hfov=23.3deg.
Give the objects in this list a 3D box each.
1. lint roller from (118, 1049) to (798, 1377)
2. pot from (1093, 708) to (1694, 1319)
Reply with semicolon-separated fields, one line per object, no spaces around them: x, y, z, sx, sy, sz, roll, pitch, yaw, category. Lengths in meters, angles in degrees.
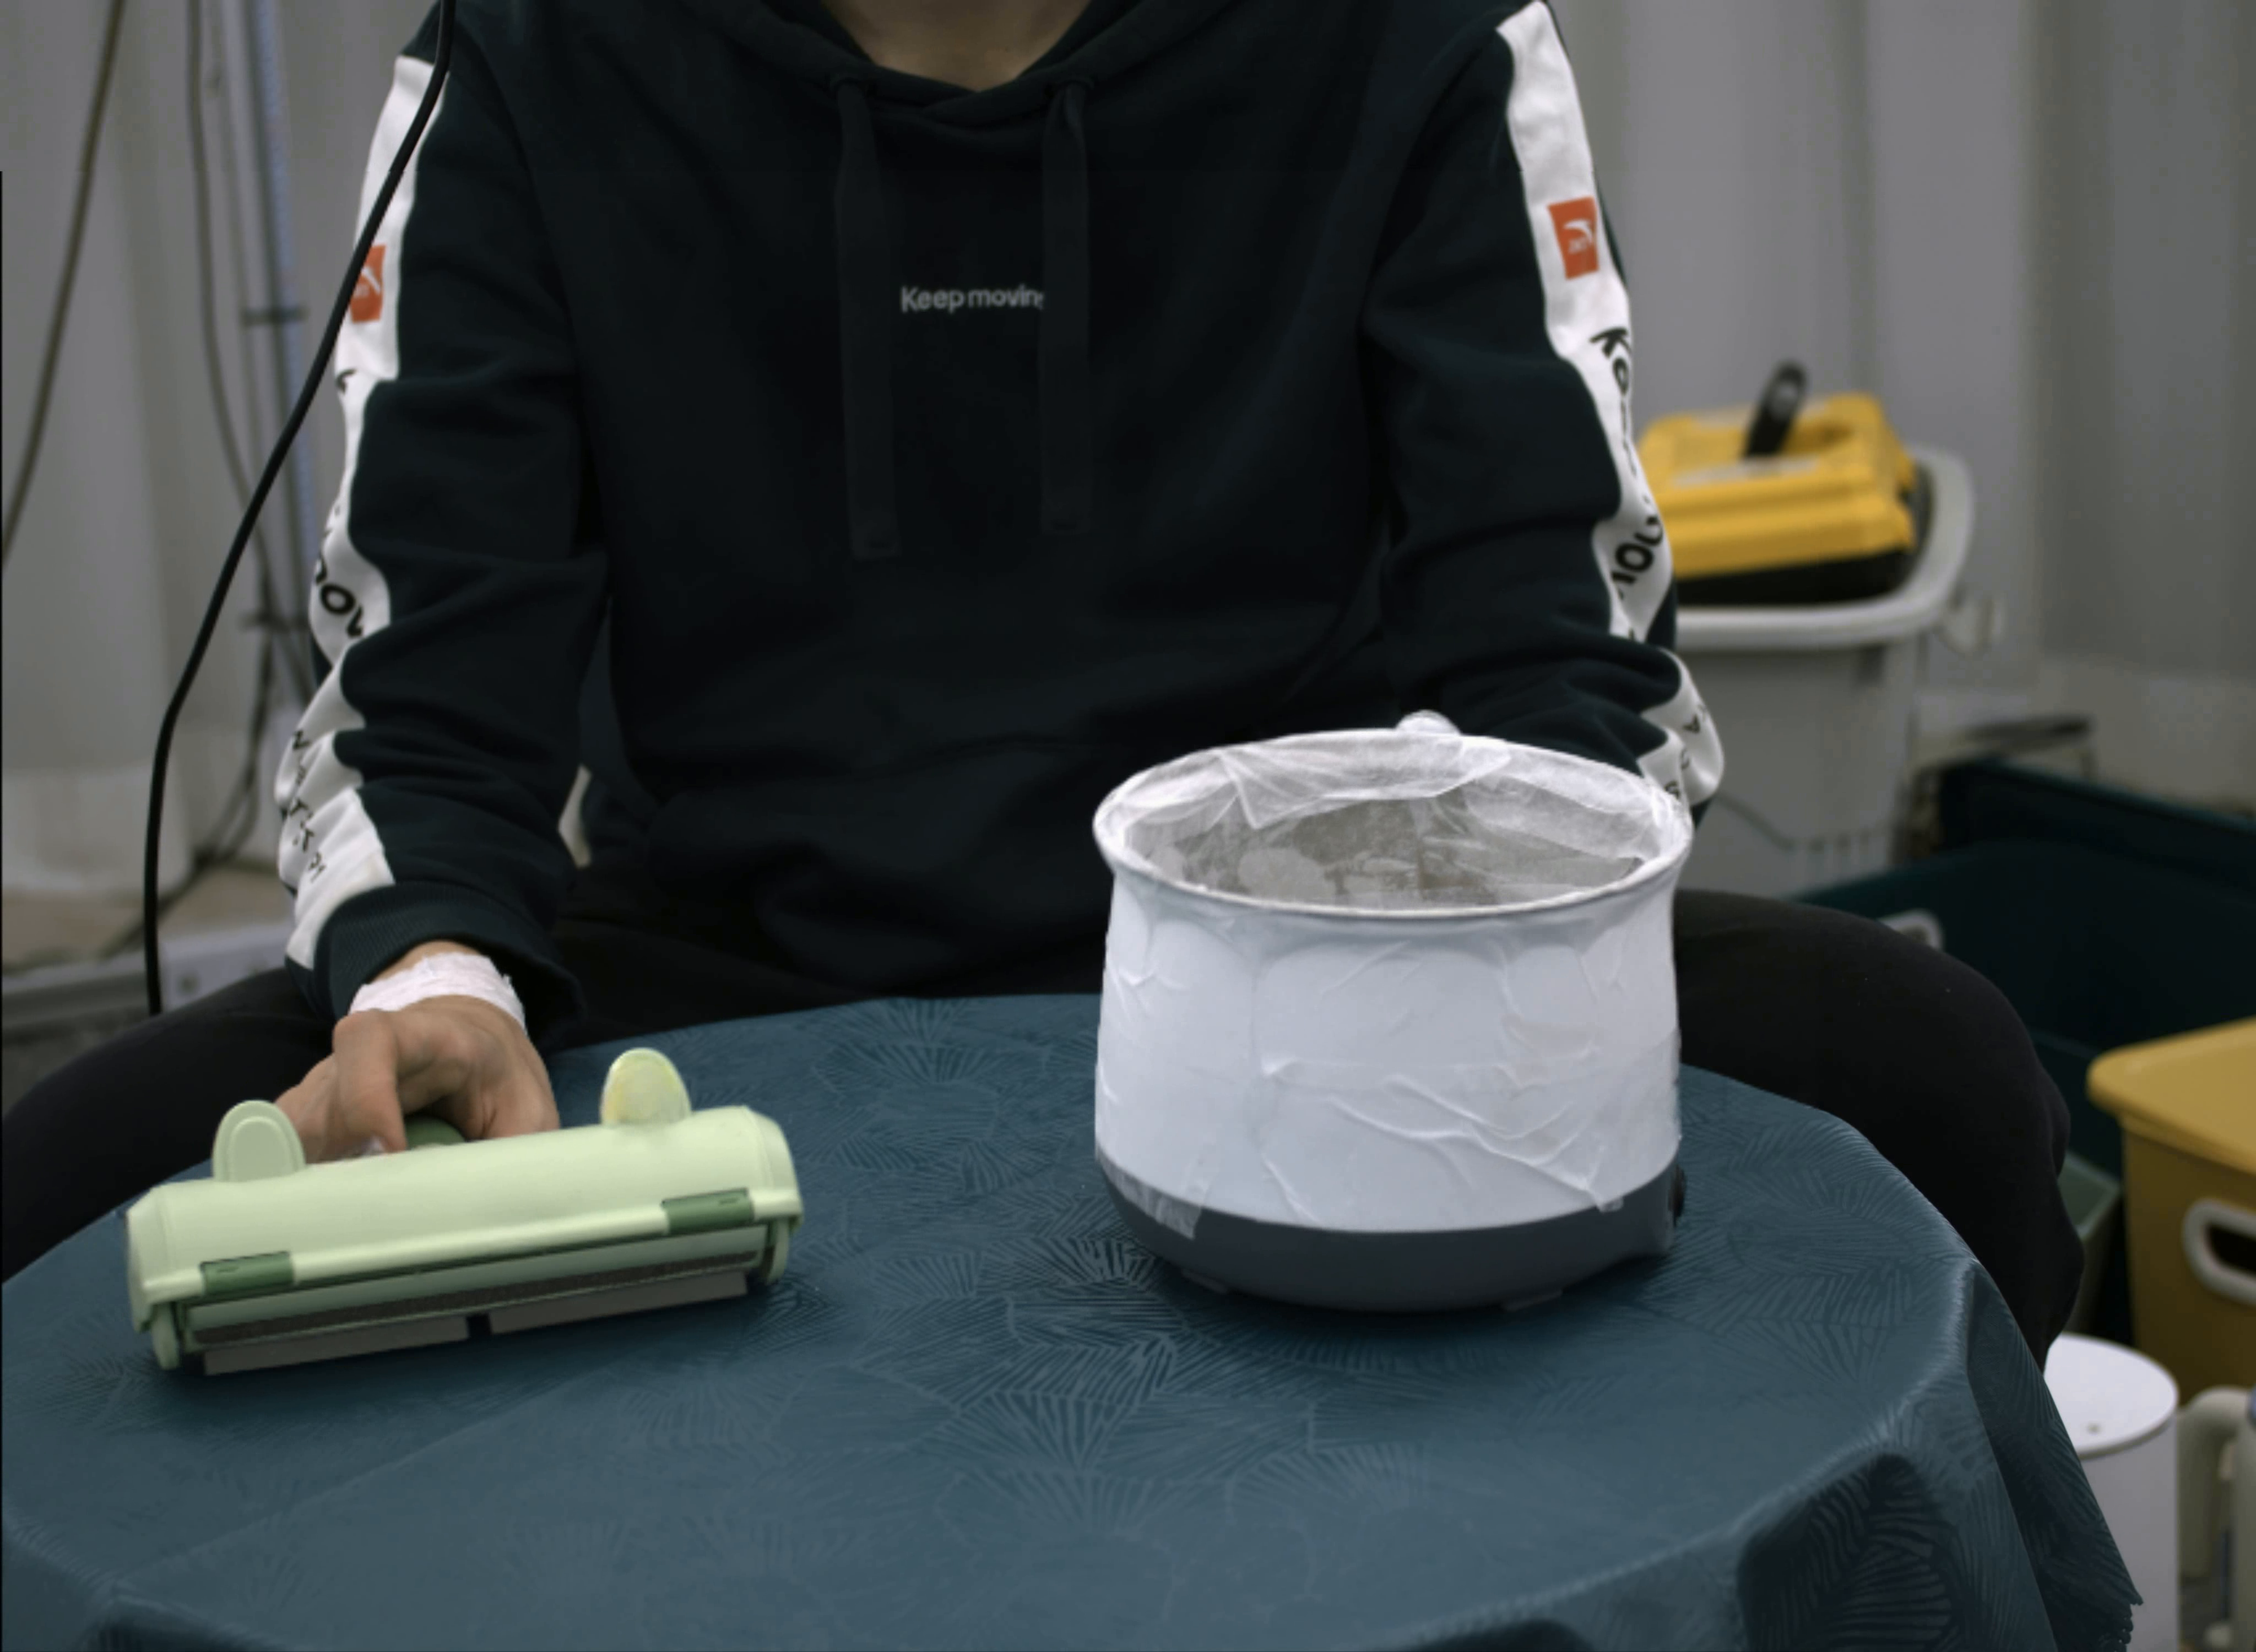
-0.213;0.099;1.665;0.198;0.082;0.185;-7;19;-14;lint roller
0.082;0.051;1.654;0.178;0.136;0.235;2;18;8;pot
